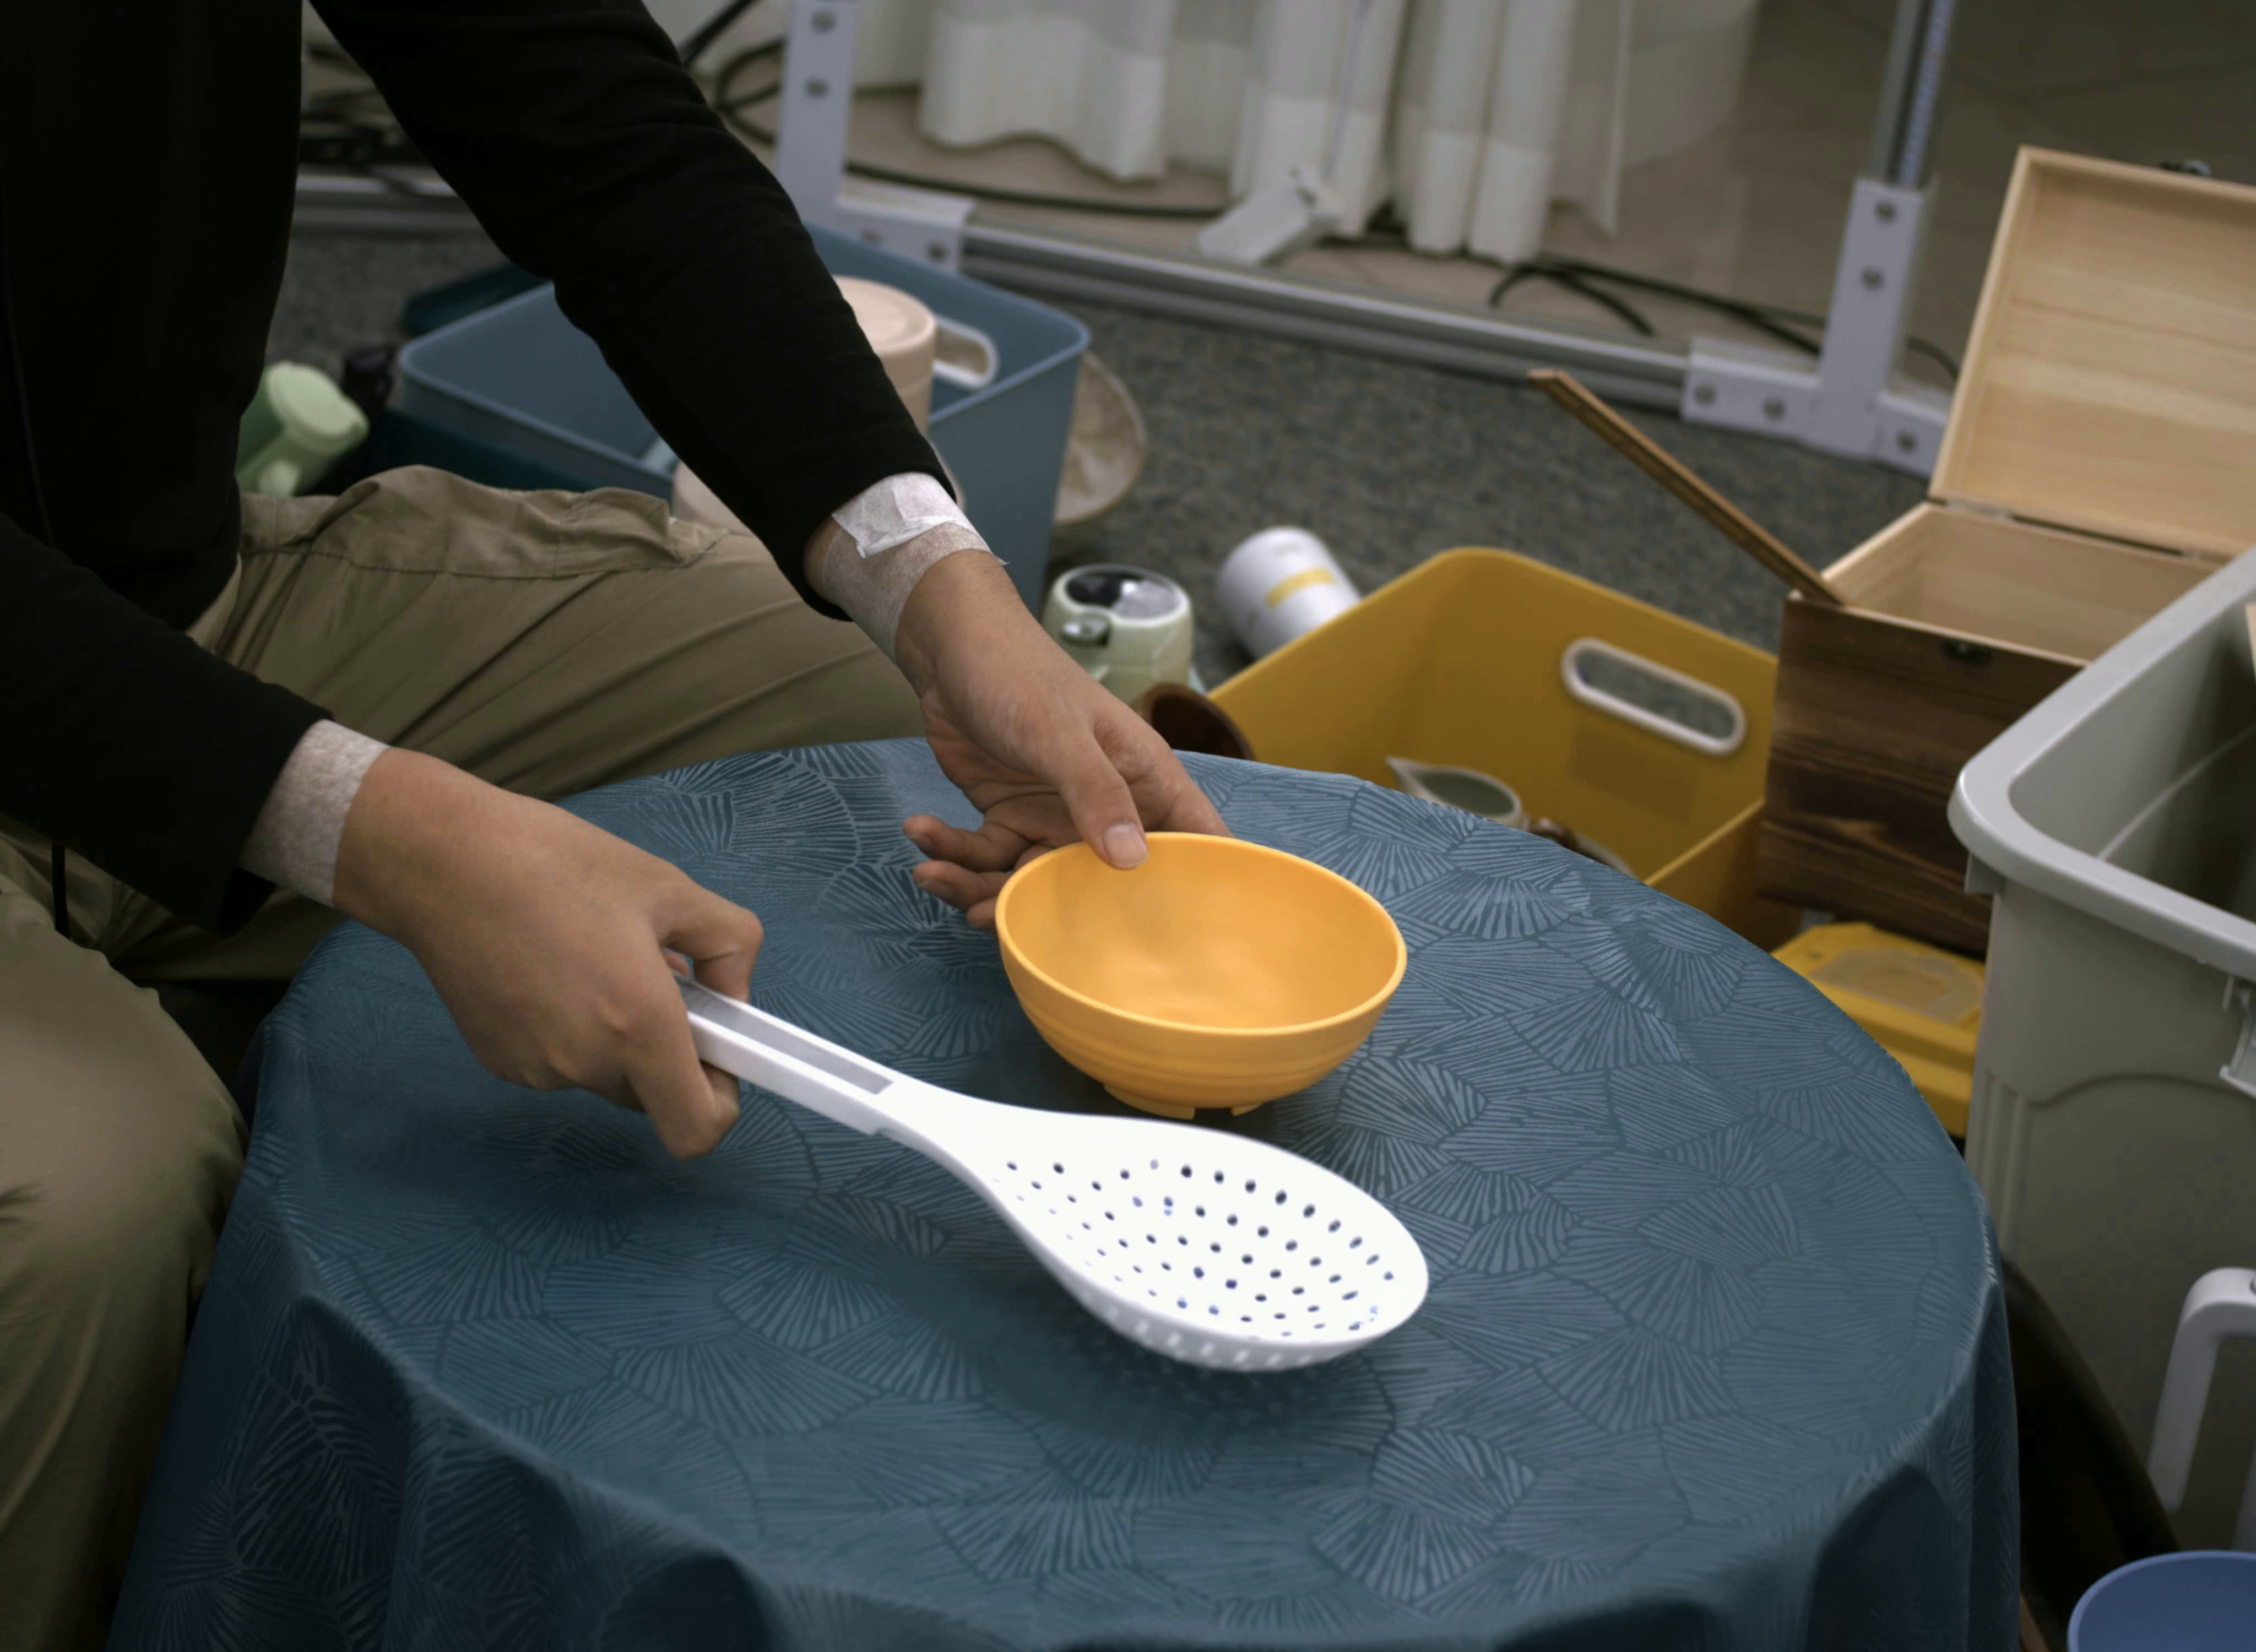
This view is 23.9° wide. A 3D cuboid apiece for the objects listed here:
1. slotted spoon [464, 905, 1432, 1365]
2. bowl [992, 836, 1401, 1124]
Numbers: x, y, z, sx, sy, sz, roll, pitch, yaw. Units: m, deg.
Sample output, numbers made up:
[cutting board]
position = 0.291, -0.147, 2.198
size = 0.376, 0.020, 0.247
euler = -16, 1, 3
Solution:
[slotted spoon]
position = -0.065, 0.097, 1.744
size = 0.351, 0.045, 0.136
euler = 26, 21, 16
[bowl]
position = 0.020, 0.063, 1.865
size = 0.145, 0.060, 0.146
euler = 7, 26, -4
